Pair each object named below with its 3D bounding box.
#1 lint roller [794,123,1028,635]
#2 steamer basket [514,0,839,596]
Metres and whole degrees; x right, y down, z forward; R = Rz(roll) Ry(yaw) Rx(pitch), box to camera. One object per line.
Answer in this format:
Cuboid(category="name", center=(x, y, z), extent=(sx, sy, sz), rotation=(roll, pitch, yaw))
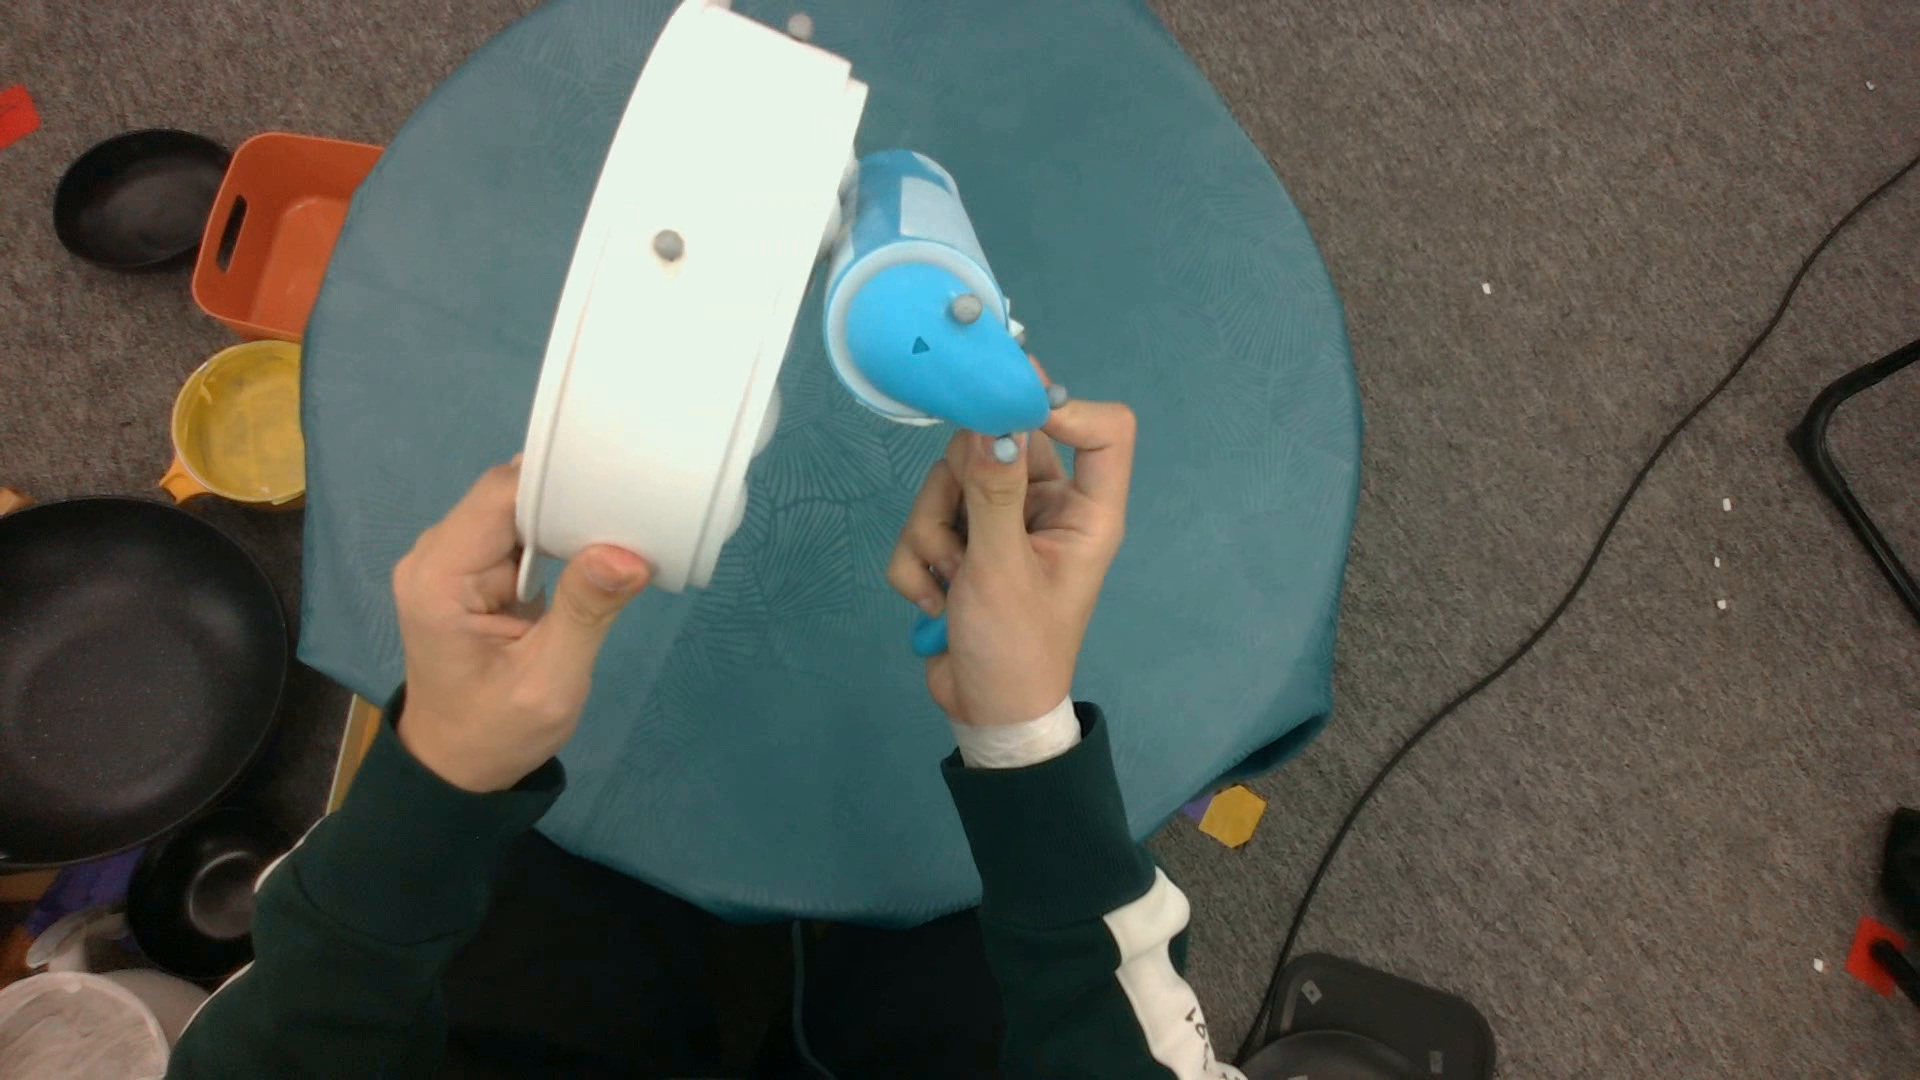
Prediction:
Cuboid(category="lint roller", center=(-0.016, -0.051, 0.504), extent=(0.068, 0.229, 0.179), rotation=(-16, 118, -3))
Cuboid(category="steamer basket", center=(-0.096, -0.086, 0.485), extent=(0.069, 0.202, 0.230), rotation=(15, 89, -10))
